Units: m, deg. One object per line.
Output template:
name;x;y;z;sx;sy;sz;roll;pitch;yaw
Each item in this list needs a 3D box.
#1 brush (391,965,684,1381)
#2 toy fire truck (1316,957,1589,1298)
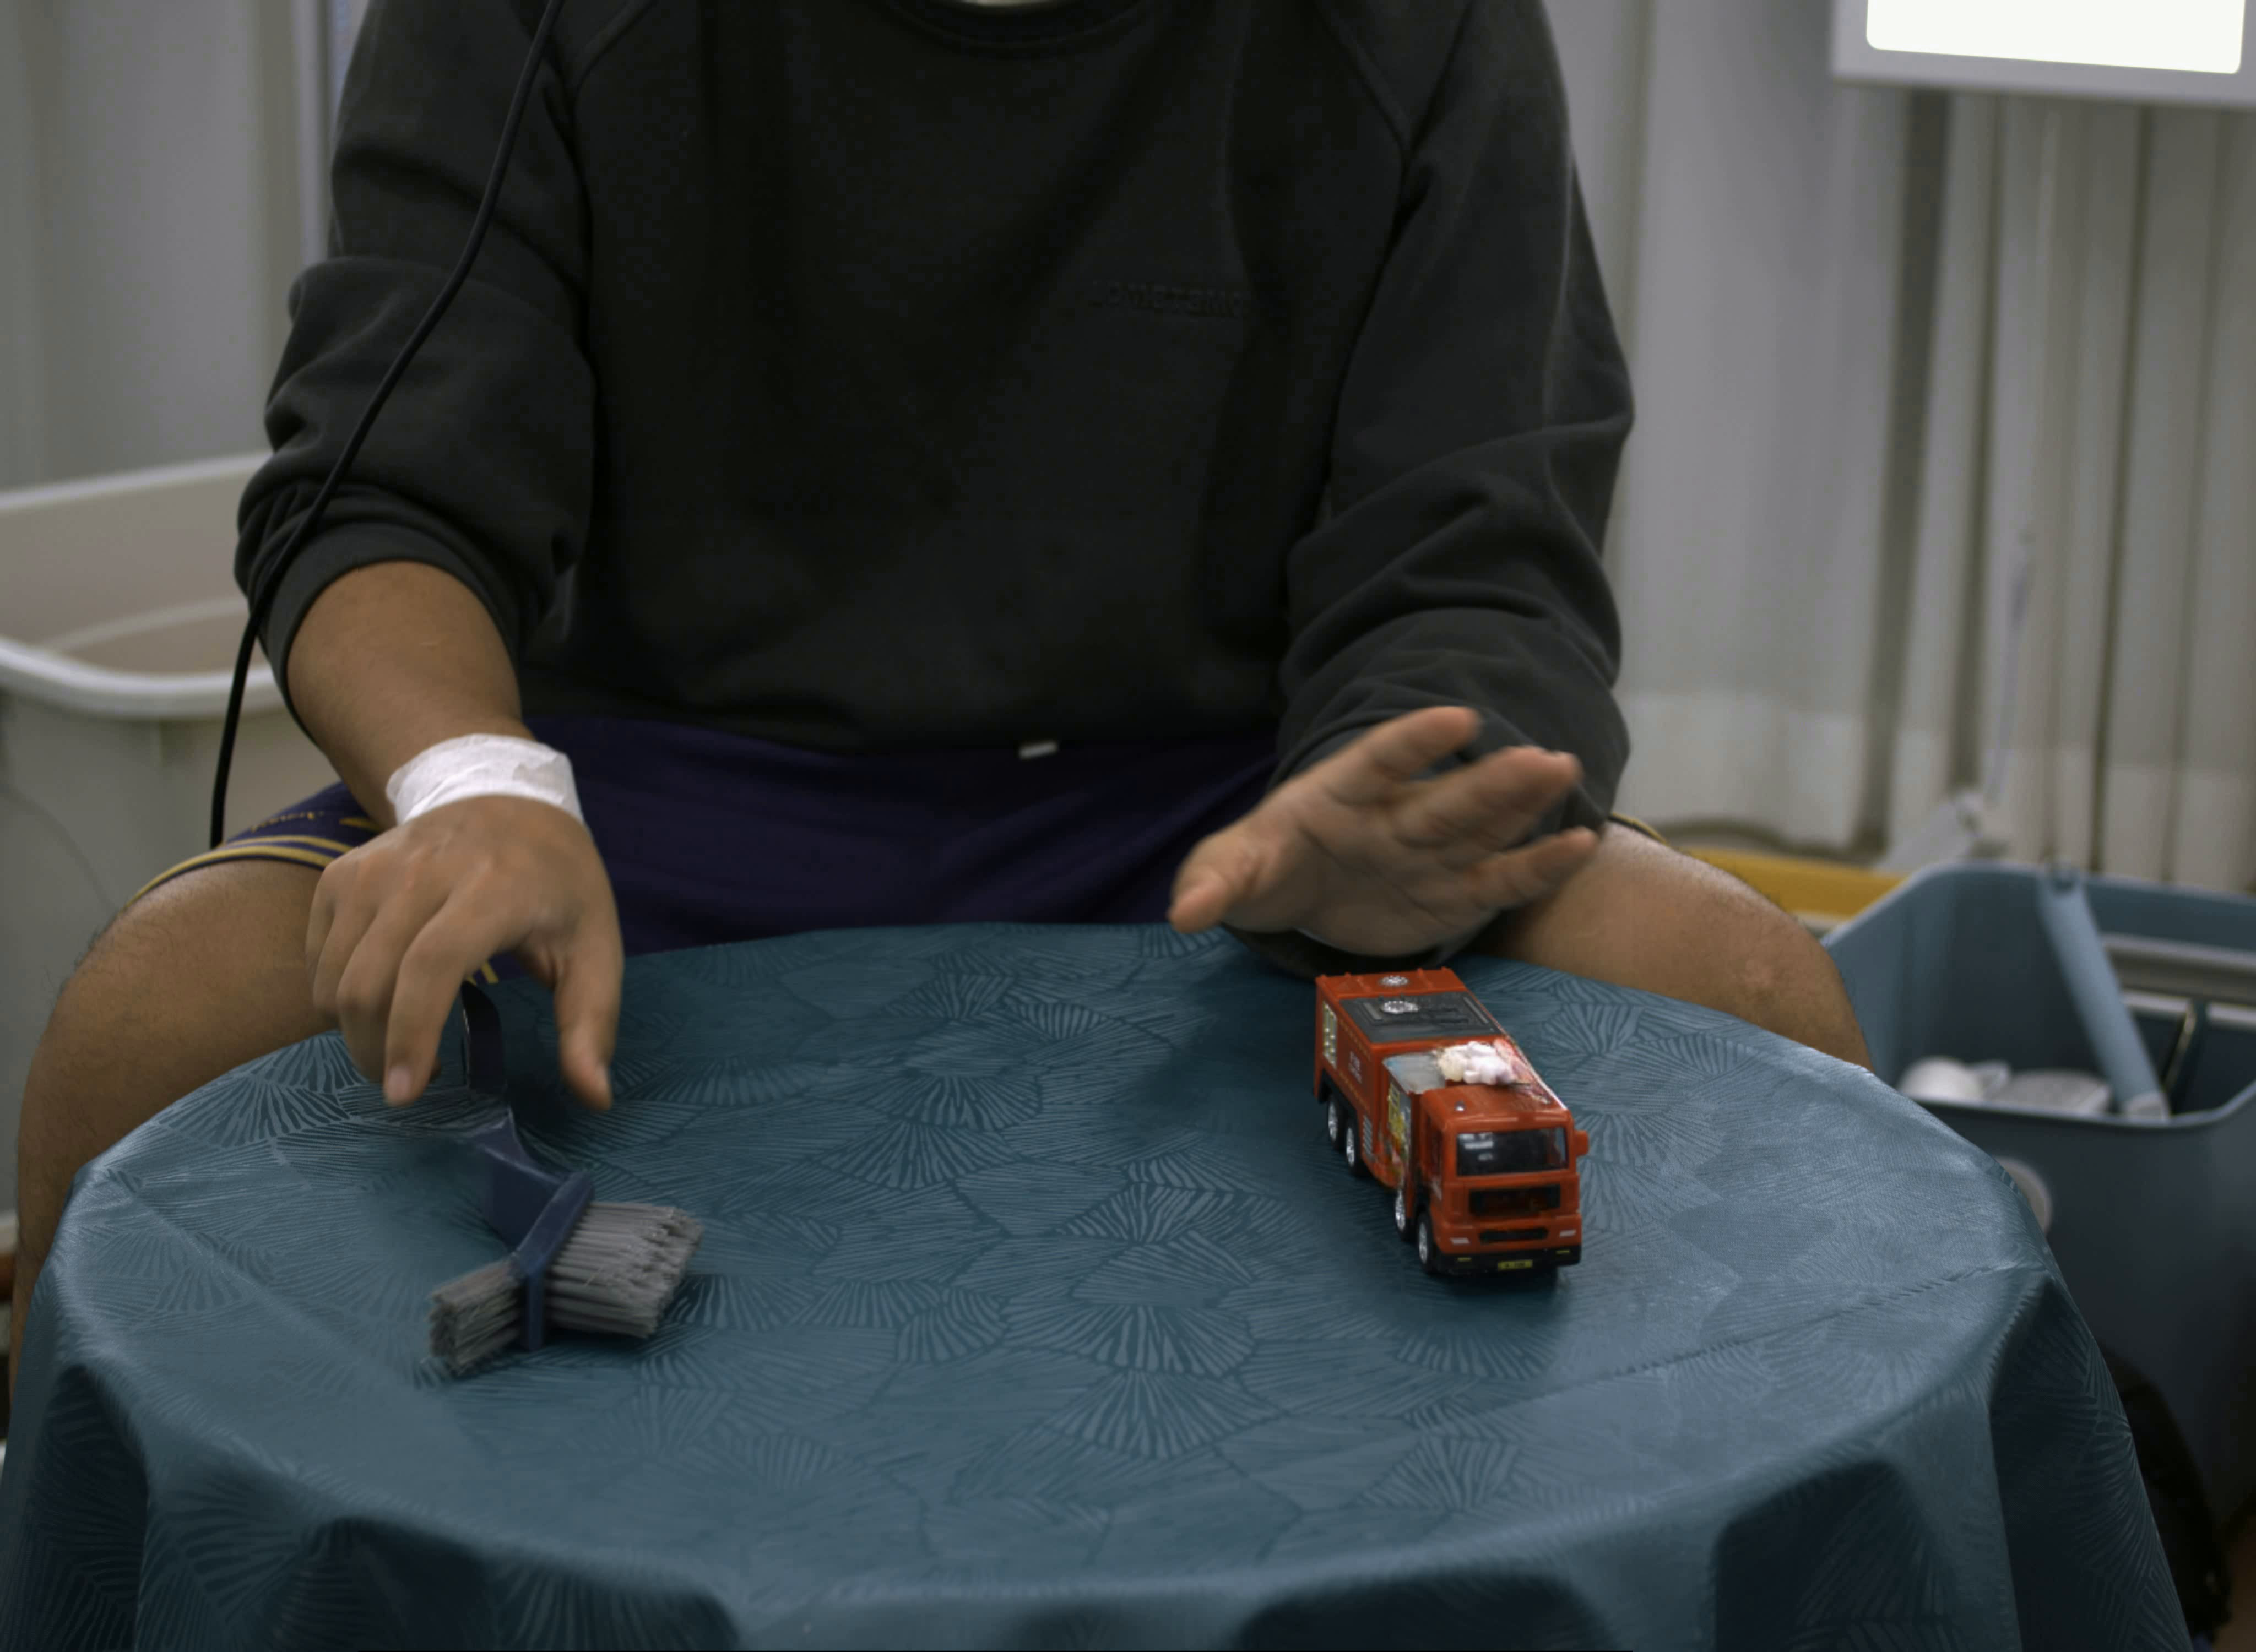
brush;-0.197;0.101;1.596;0.096;0.034;0.270;-4;18;-17
toy fire truck;0.097;0.088;1.602;0.054;0.071;0.166;-4;16;-12
